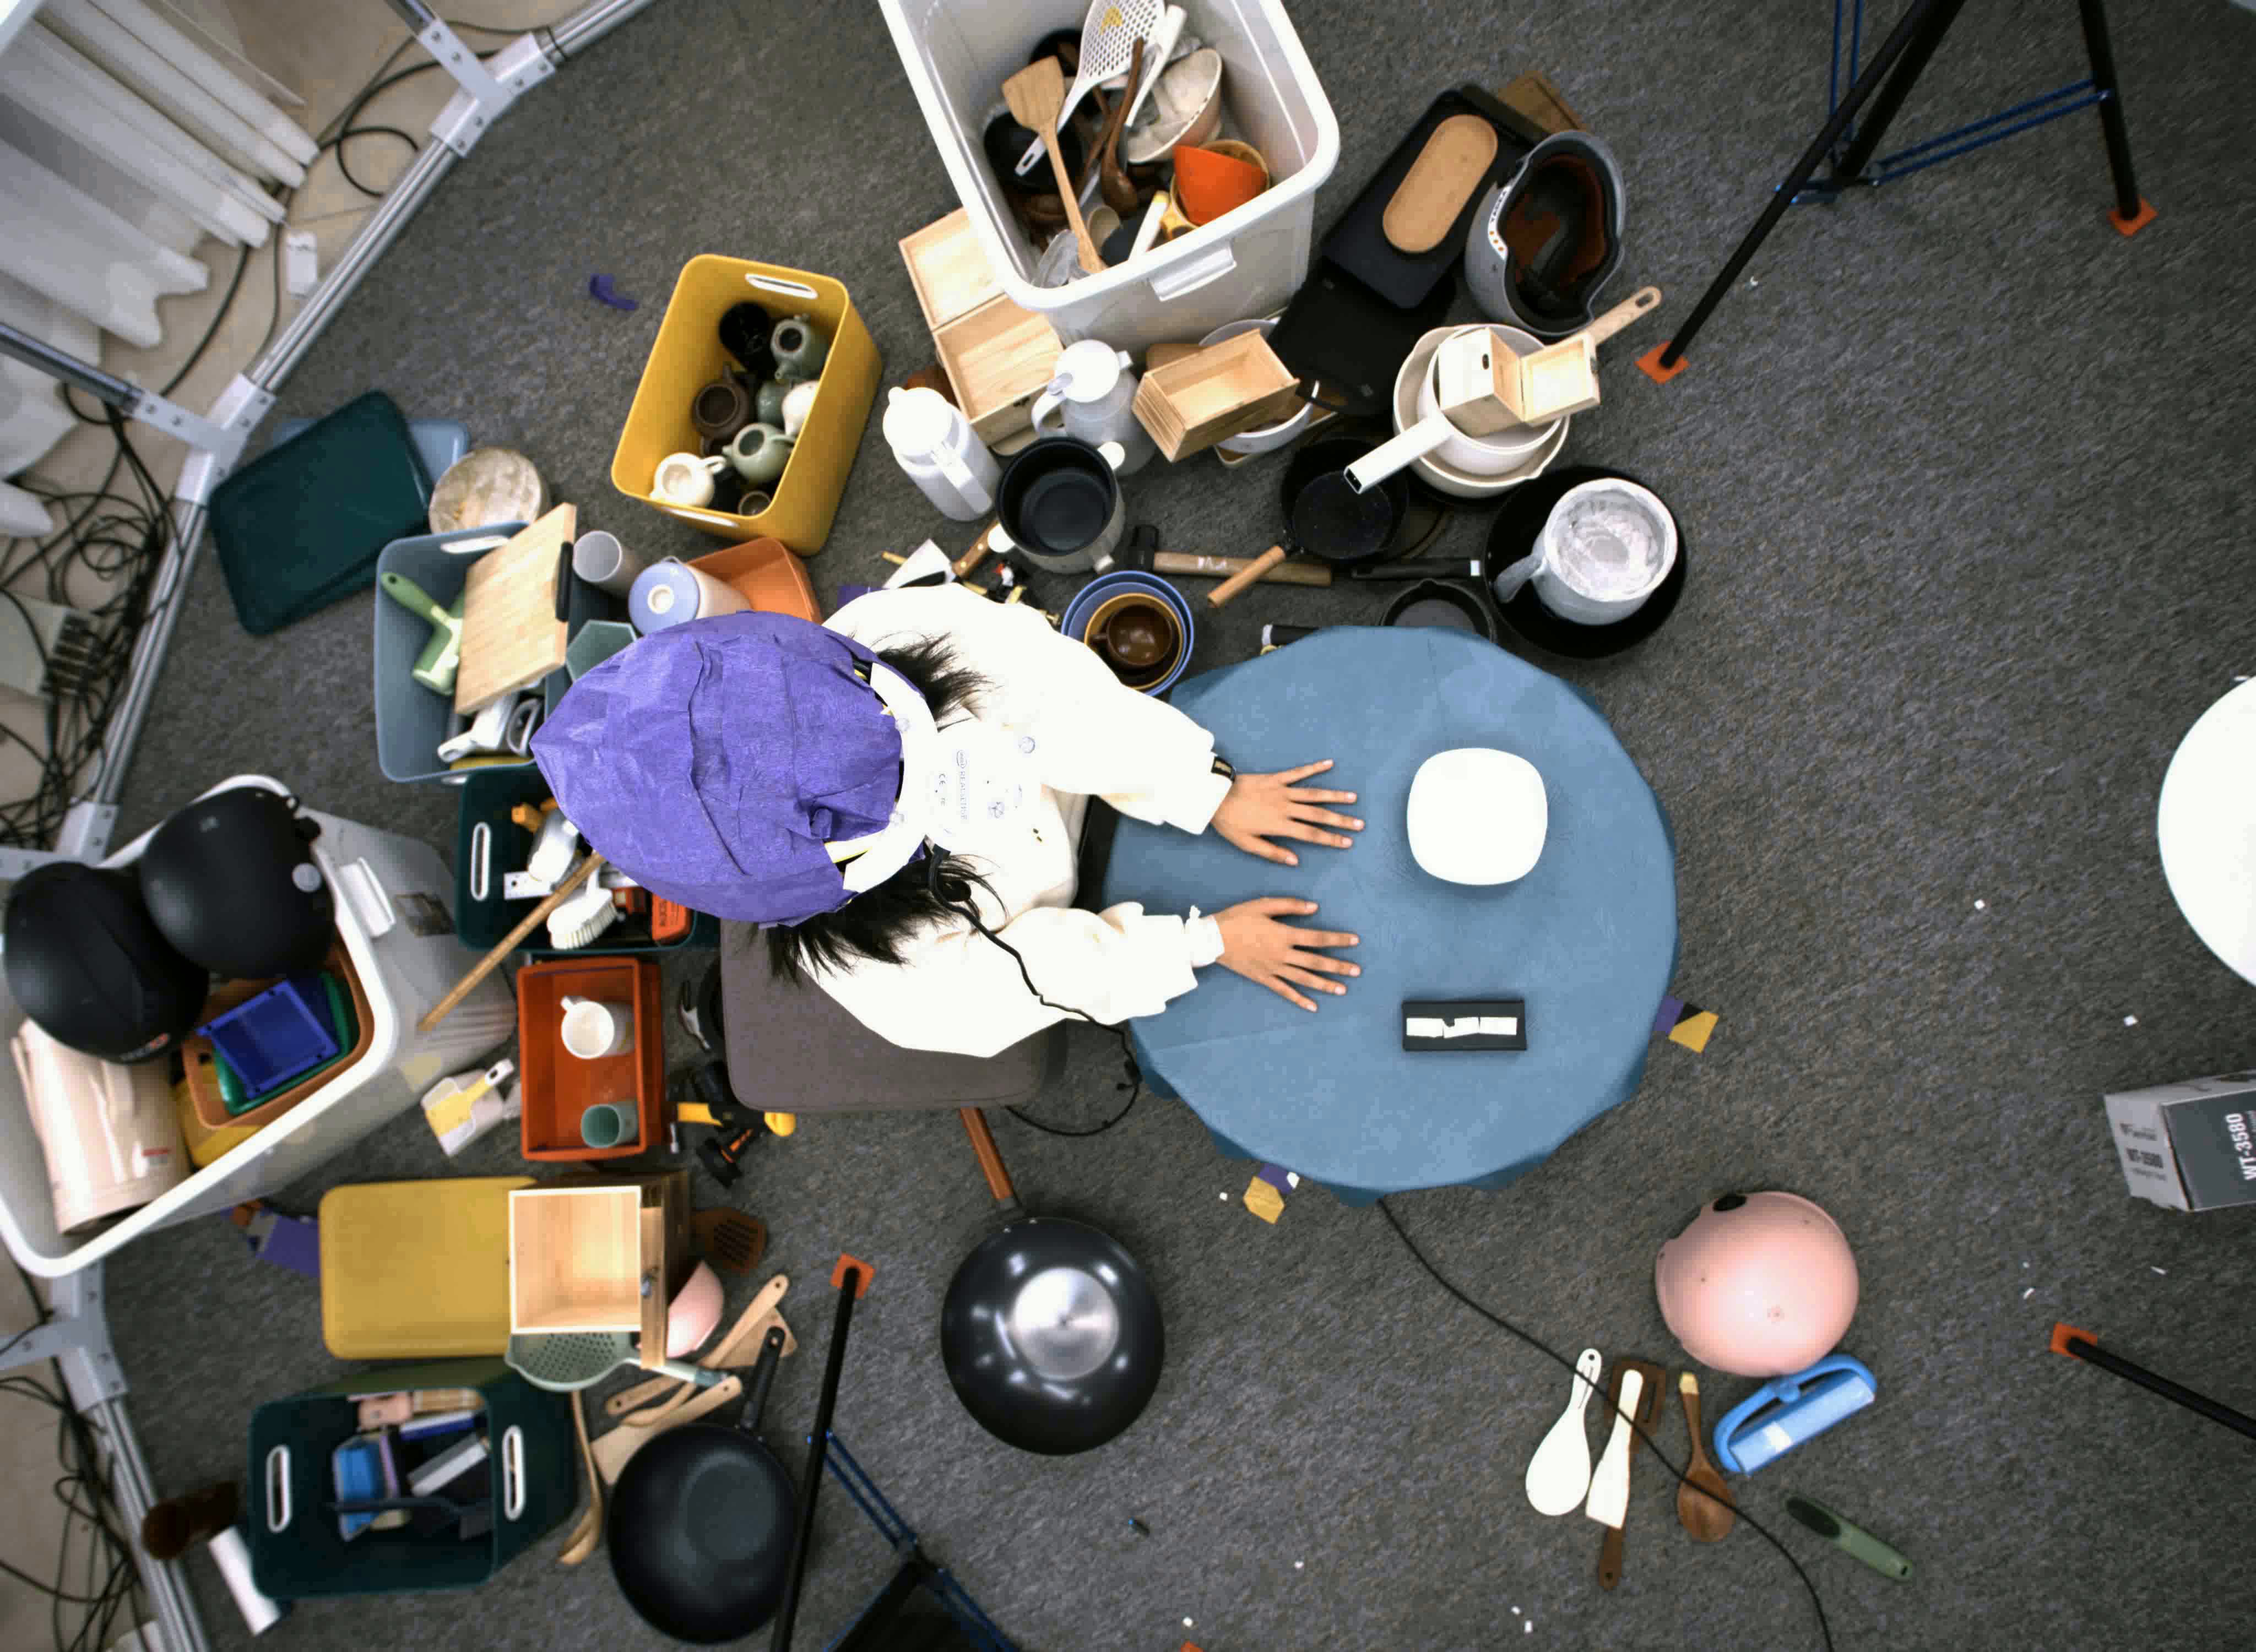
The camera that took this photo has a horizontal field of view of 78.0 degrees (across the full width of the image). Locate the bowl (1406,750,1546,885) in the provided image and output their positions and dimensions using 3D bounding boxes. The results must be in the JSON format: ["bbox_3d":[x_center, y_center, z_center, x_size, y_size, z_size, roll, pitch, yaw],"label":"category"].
[{"bbox_3d":[0.357,-0.007,1.420,0.152,0.059,0.150,-1,83,9],"label":"bowl"}]

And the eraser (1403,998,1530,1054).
[{"bbox_3d":[0.348,0.204,1.425,0.126,0.030,0.053,-4,84,12],"label":"eraser"}]
